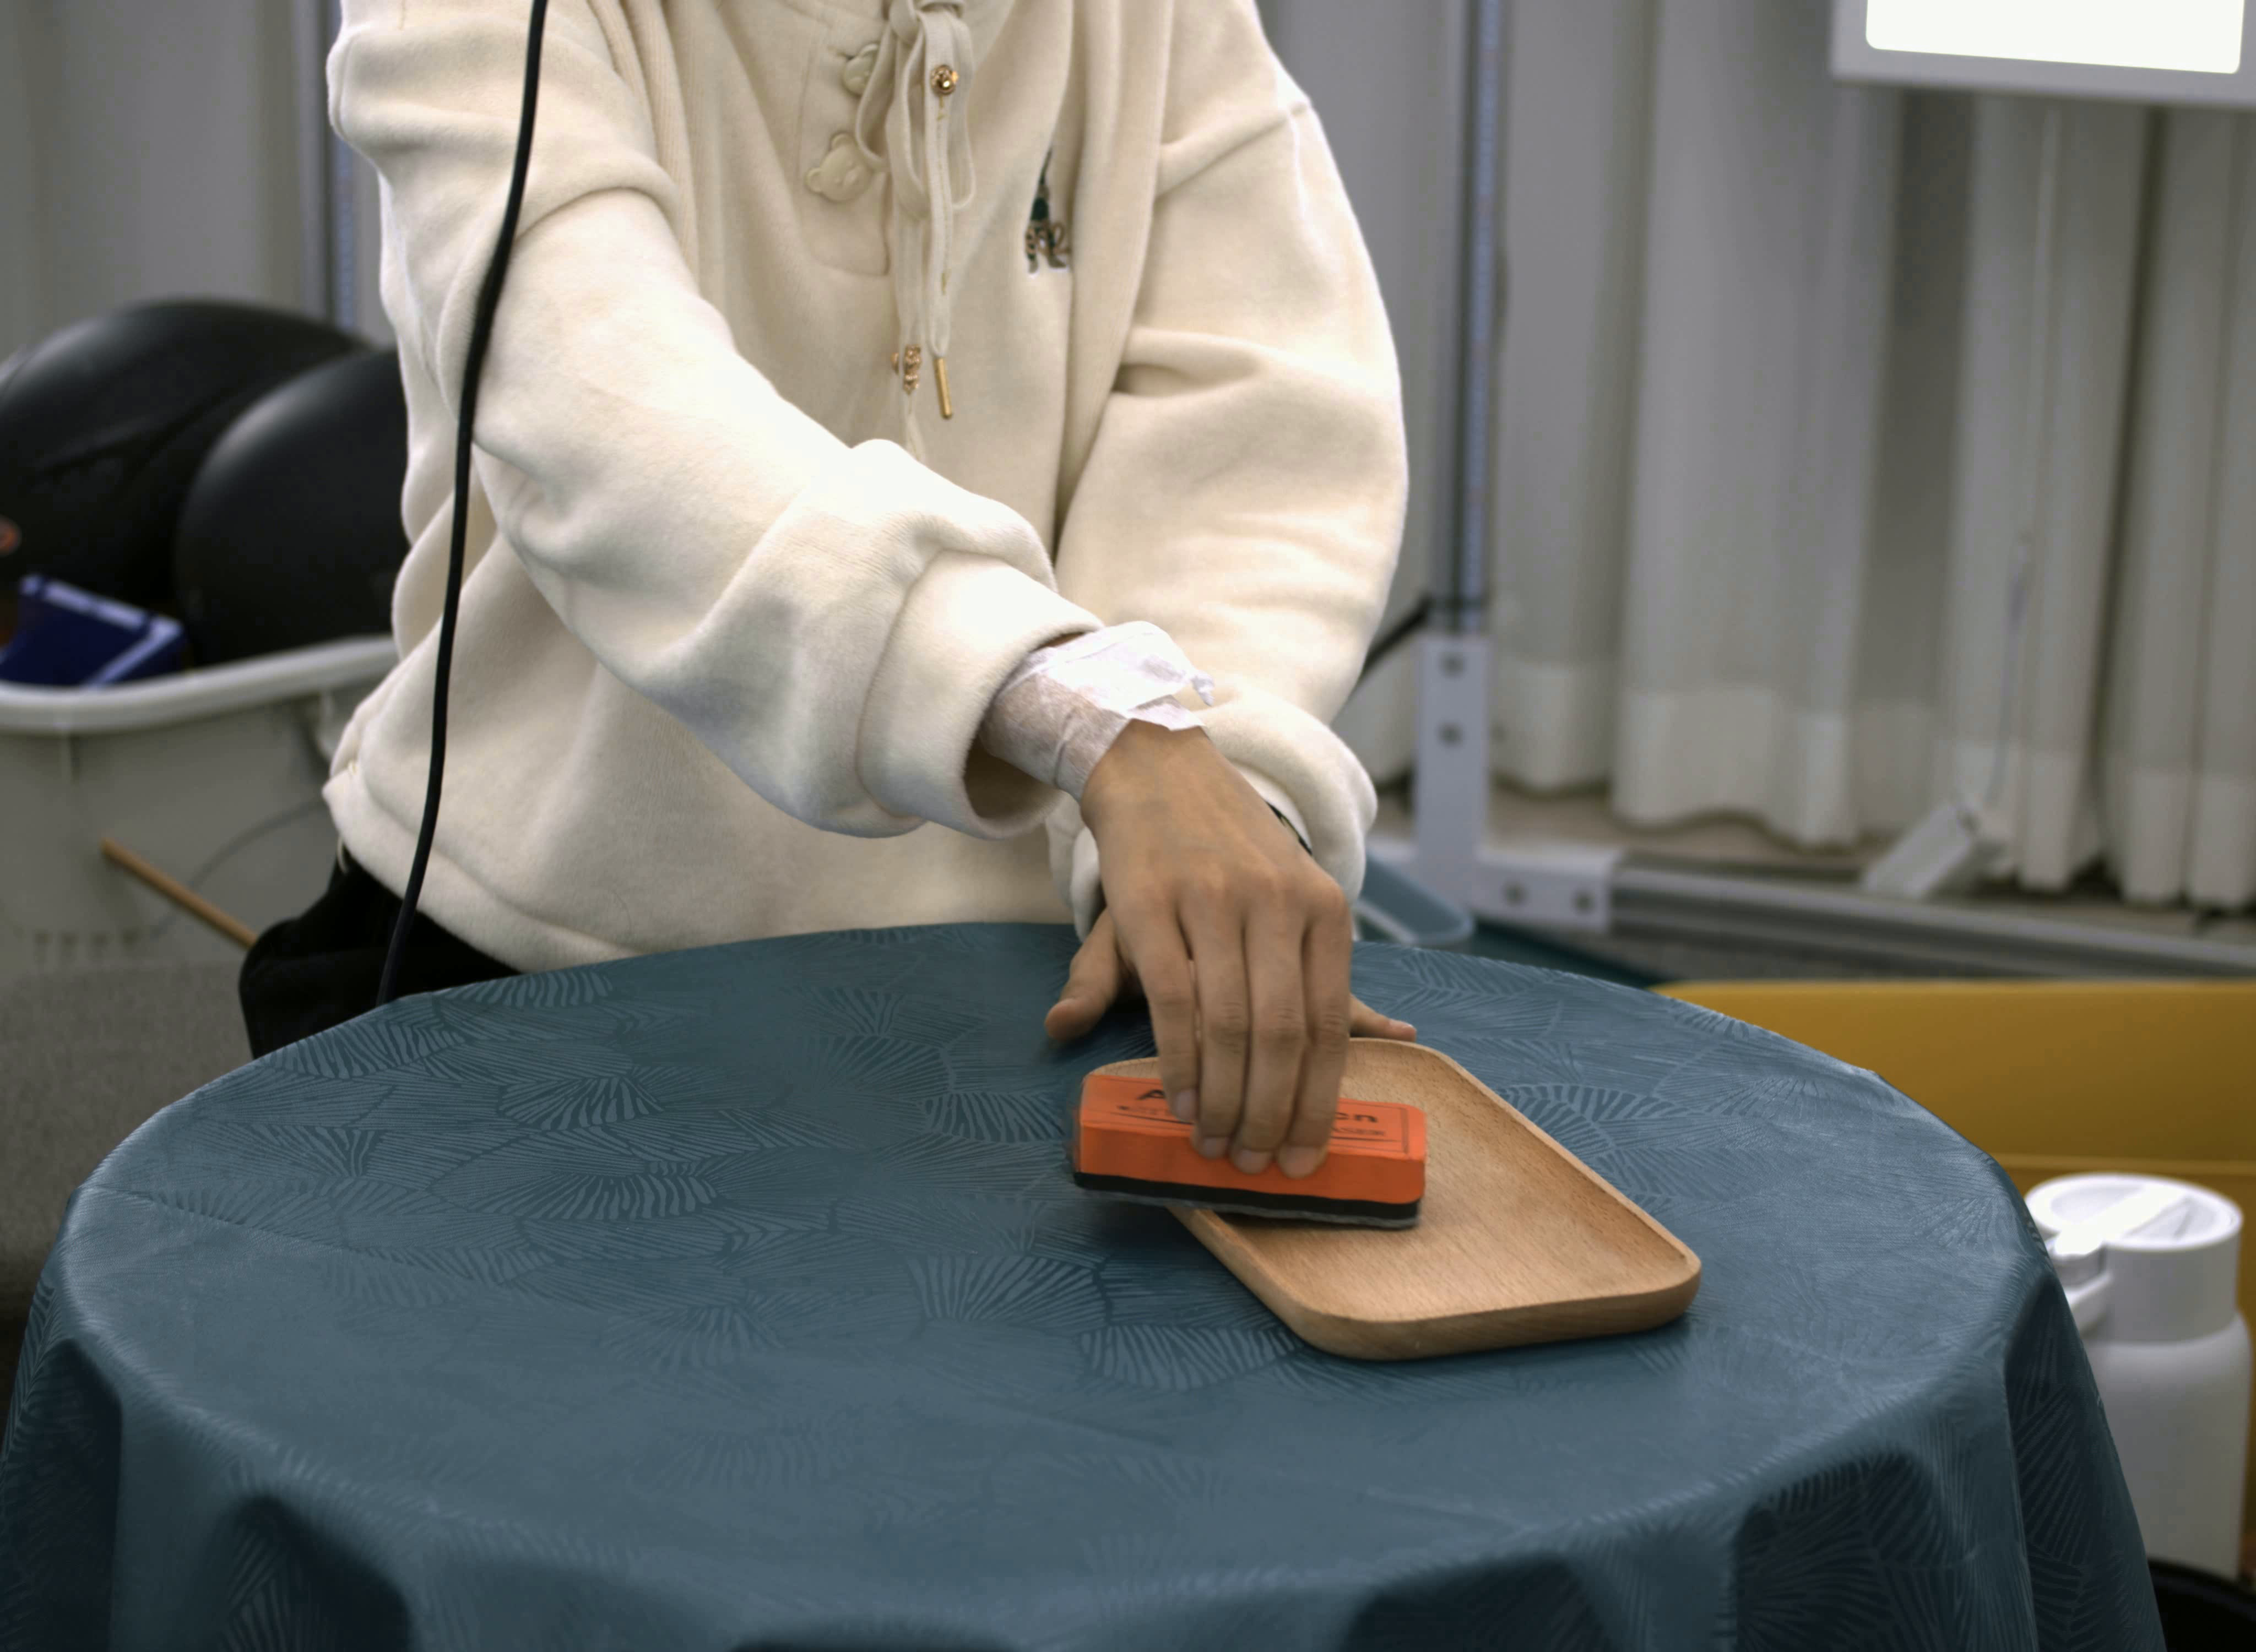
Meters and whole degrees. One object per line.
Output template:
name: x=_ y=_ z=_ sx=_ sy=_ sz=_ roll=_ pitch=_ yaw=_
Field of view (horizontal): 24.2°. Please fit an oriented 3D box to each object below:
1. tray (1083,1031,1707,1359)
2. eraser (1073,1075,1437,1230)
tray: x=0.076 y=0.109 z=1.601 sx=0.131 sy=0.023 sz=0.248 roll=-2 pitch=15 yaw=-17
eraser: x=0.039 y=0.098 z=1.585 sx=0.107 sy=0.023 sz=0.059 roll=6 pitch=14 yaw=1
